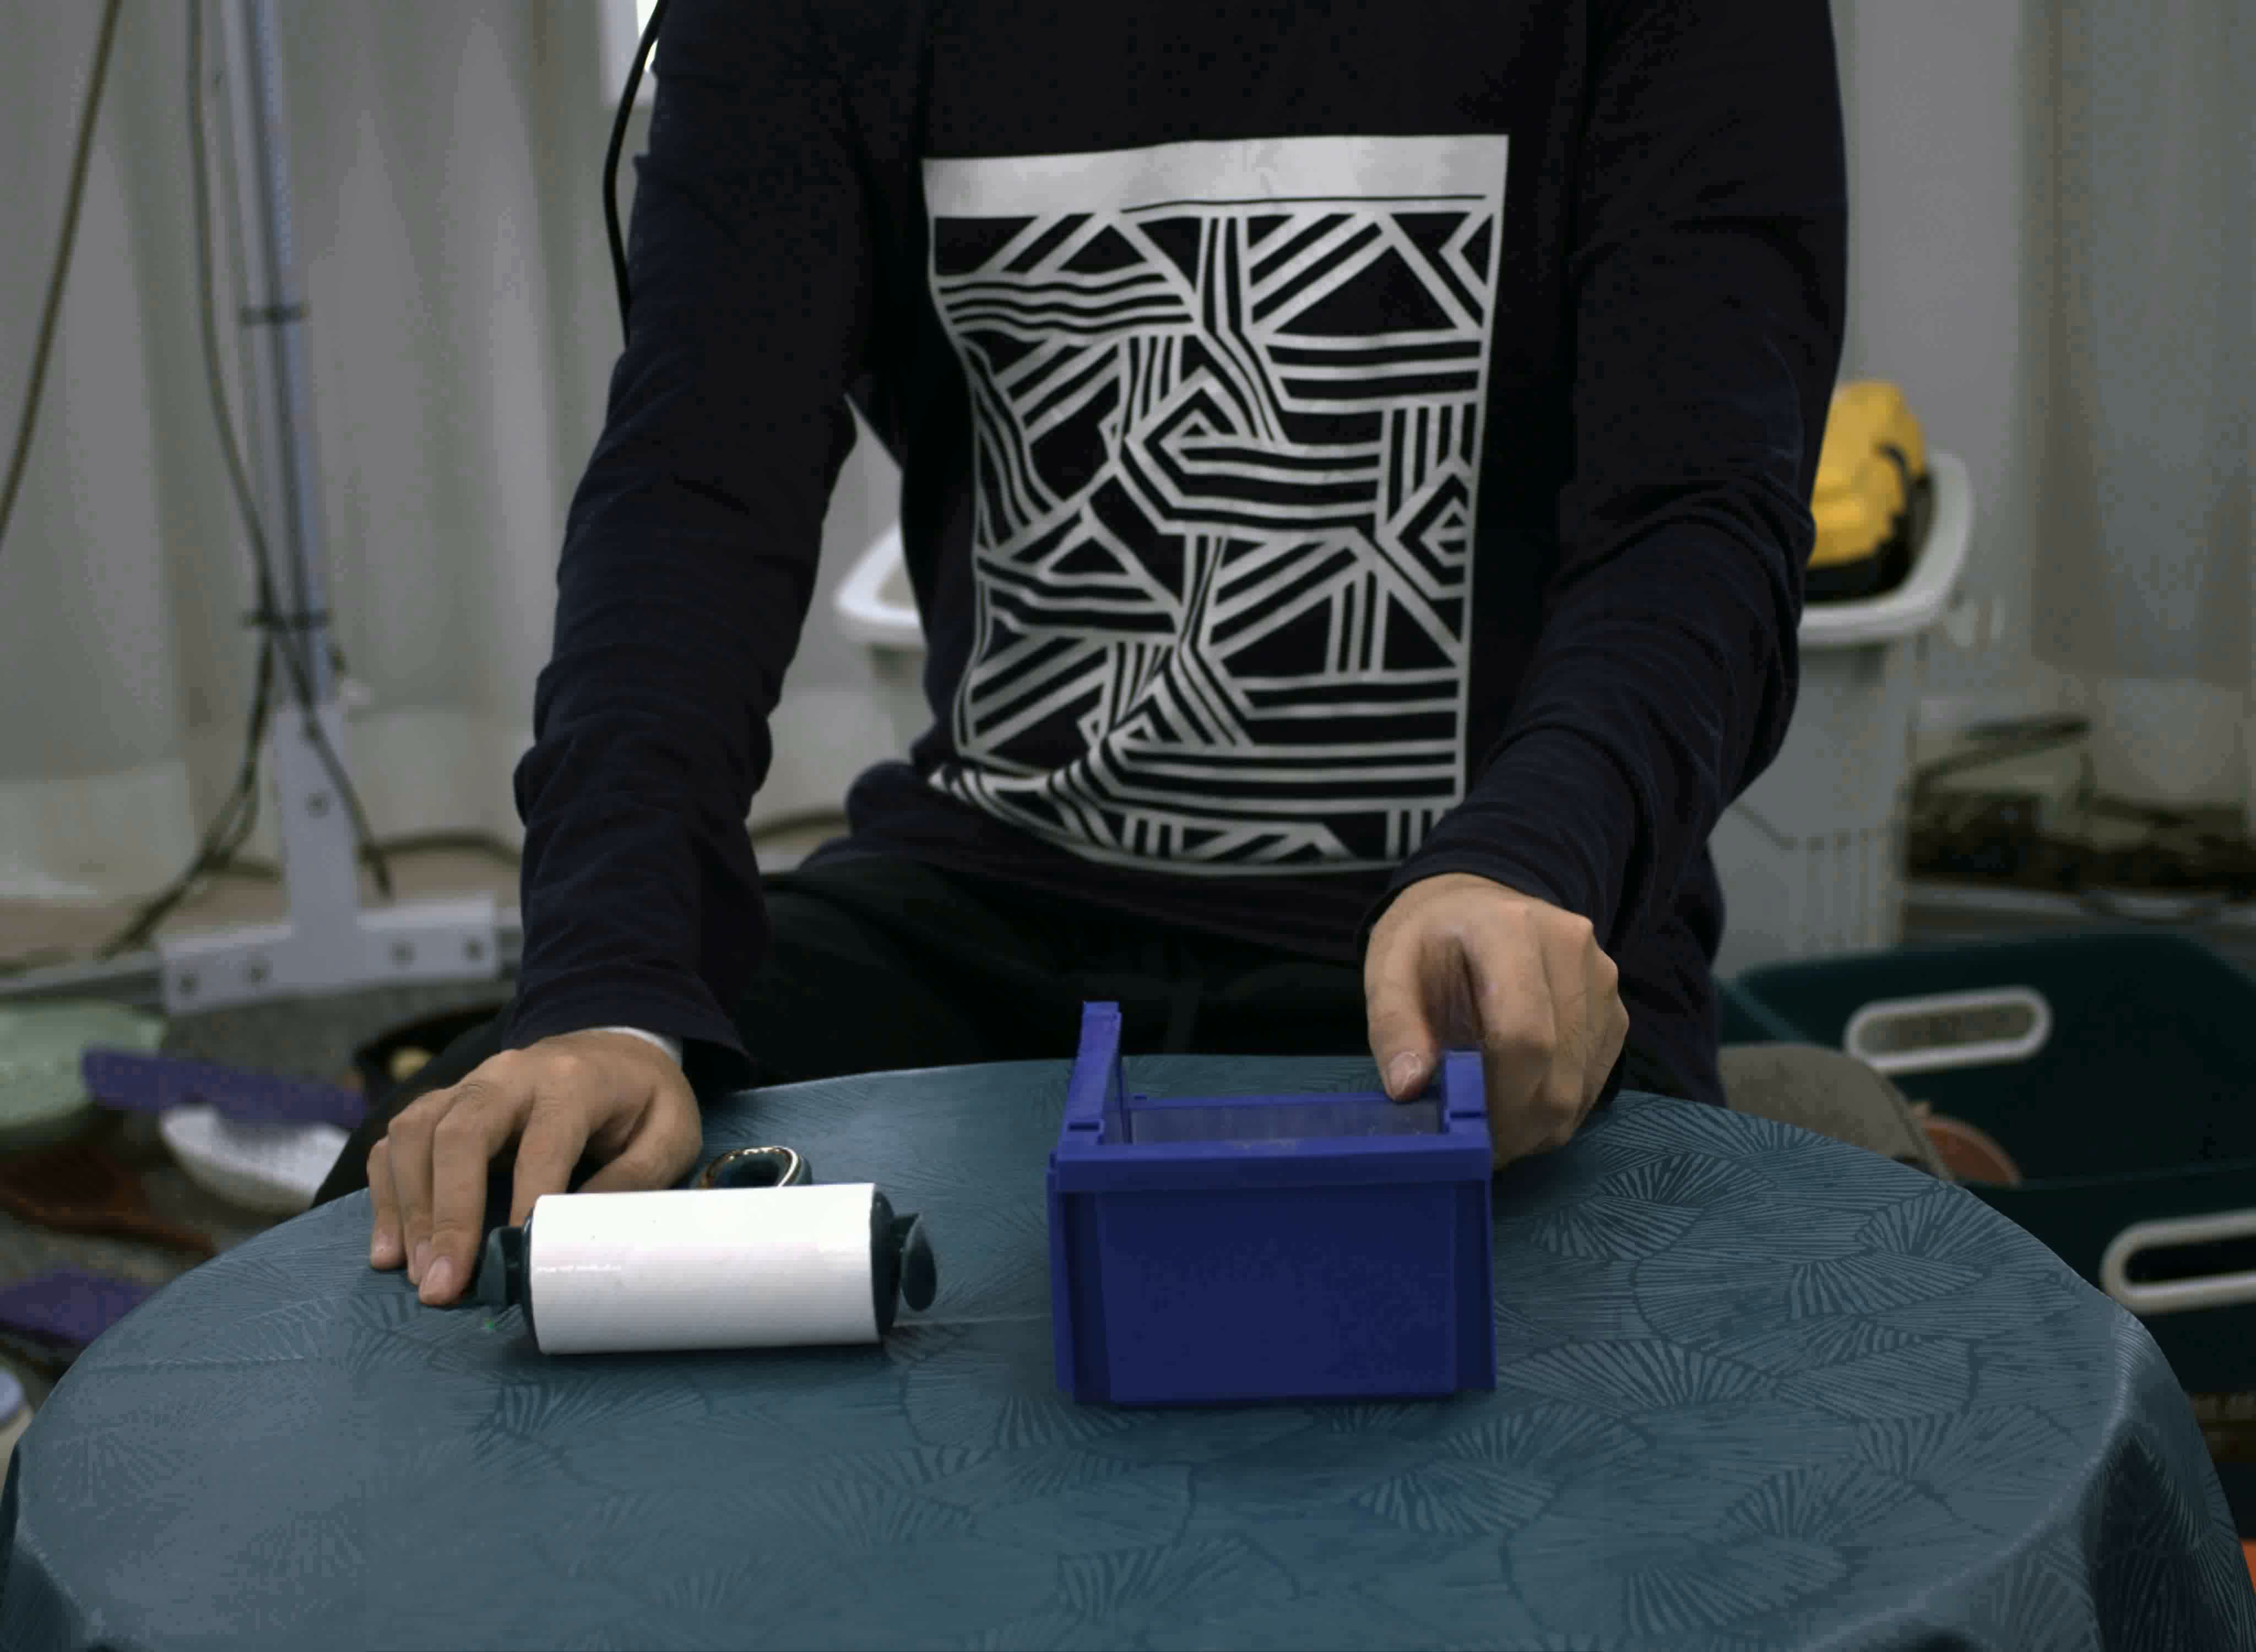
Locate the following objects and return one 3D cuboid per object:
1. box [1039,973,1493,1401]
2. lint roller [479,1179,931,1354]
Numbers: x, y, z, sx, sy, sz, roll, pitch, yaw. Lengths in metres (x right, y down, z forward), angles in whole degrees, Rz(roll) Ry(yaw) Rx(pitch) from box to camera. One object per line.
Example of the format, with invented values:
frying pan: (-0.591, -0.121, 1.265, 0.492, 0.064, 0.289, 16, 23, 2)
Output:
box: (0.043, 0.101, 1.602, 0.124, 0.081, 0.180, -3, 17, 5)
lint roller: (-0.121, 0.117, 1.660, 0.134, 0.048, 0.181, -3, 10, 3)
